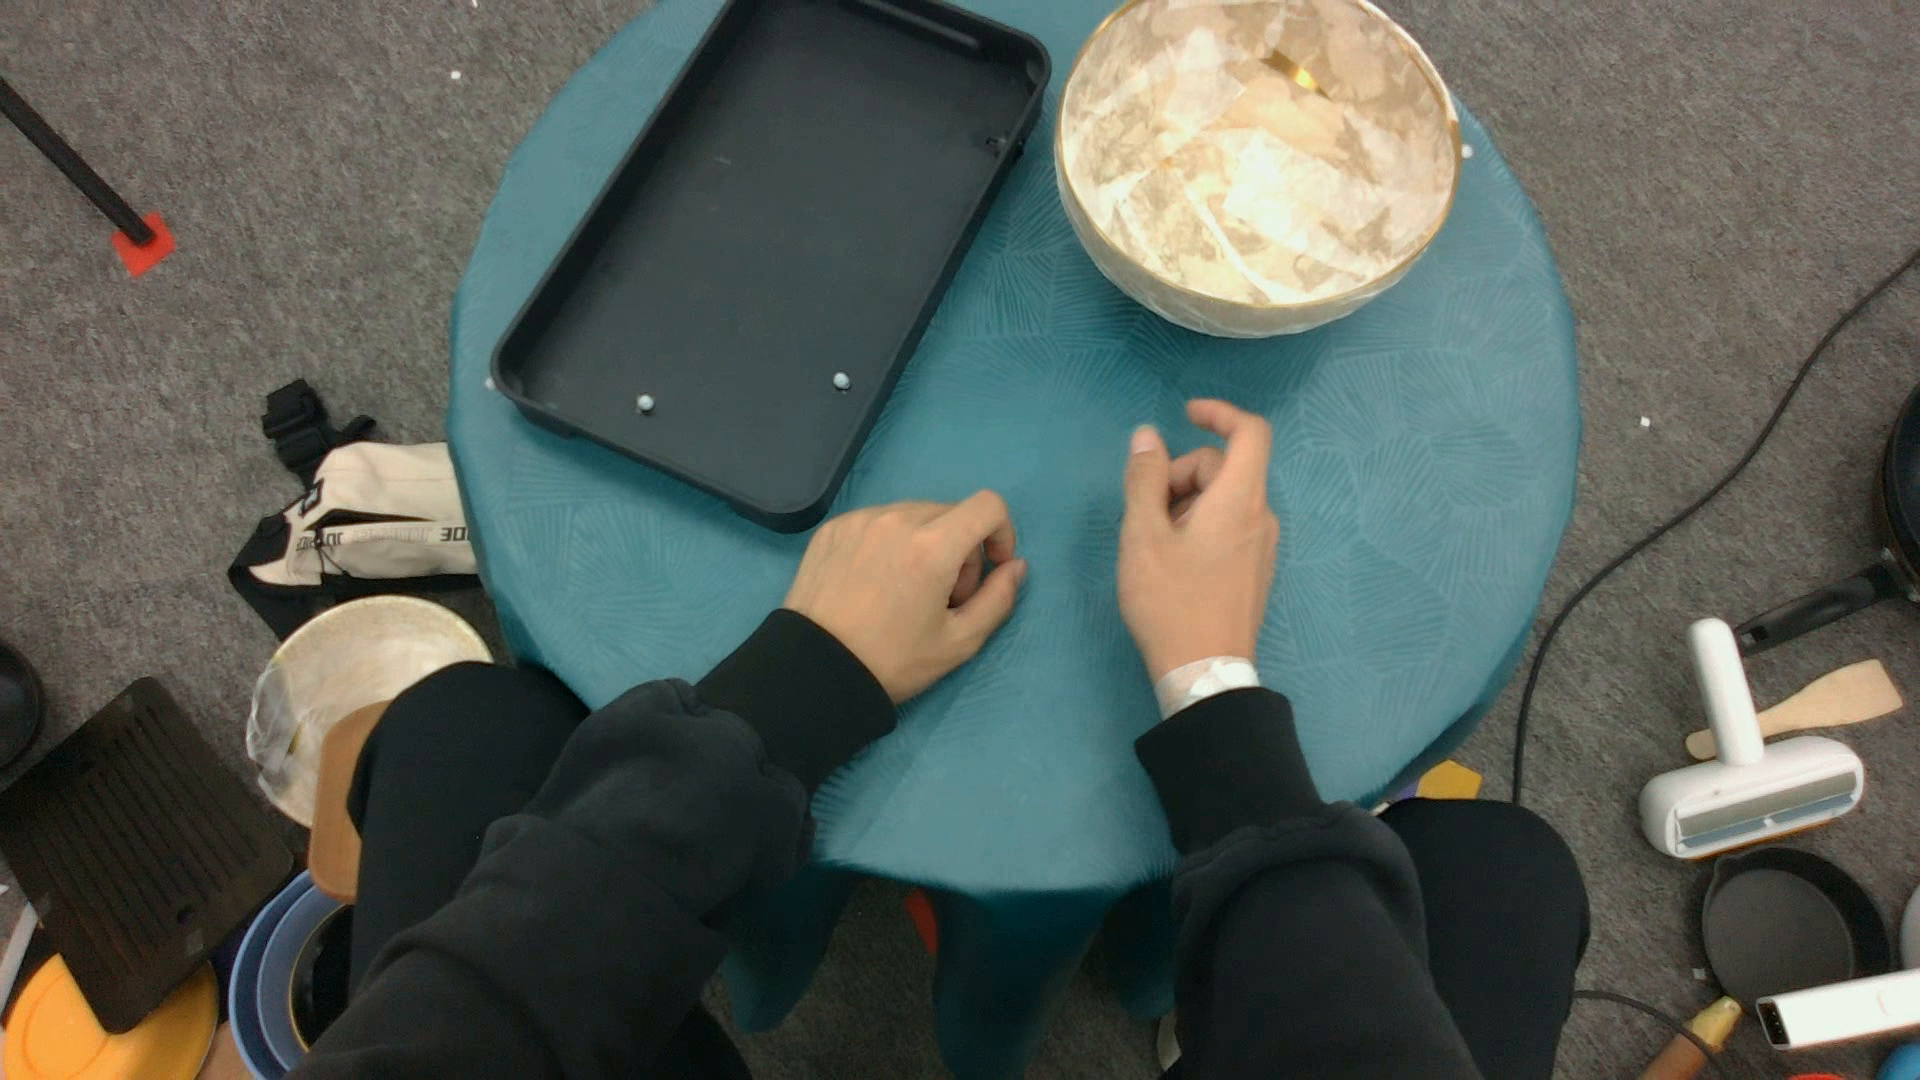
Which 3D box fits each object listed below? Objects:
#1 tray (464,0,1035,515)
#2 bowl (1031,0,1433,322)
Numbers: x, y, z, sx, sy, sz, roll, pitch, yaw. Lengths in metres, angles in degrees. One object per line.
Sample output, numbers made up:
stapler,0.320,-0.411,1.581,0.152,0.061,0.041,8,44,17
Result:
tray,-0.103,-0.177,0.738,0.184,0.037,0.319,25,68,8
bowl,0.131,-0.193,0.724,0.215,0.094,0.215,1,69,-4
